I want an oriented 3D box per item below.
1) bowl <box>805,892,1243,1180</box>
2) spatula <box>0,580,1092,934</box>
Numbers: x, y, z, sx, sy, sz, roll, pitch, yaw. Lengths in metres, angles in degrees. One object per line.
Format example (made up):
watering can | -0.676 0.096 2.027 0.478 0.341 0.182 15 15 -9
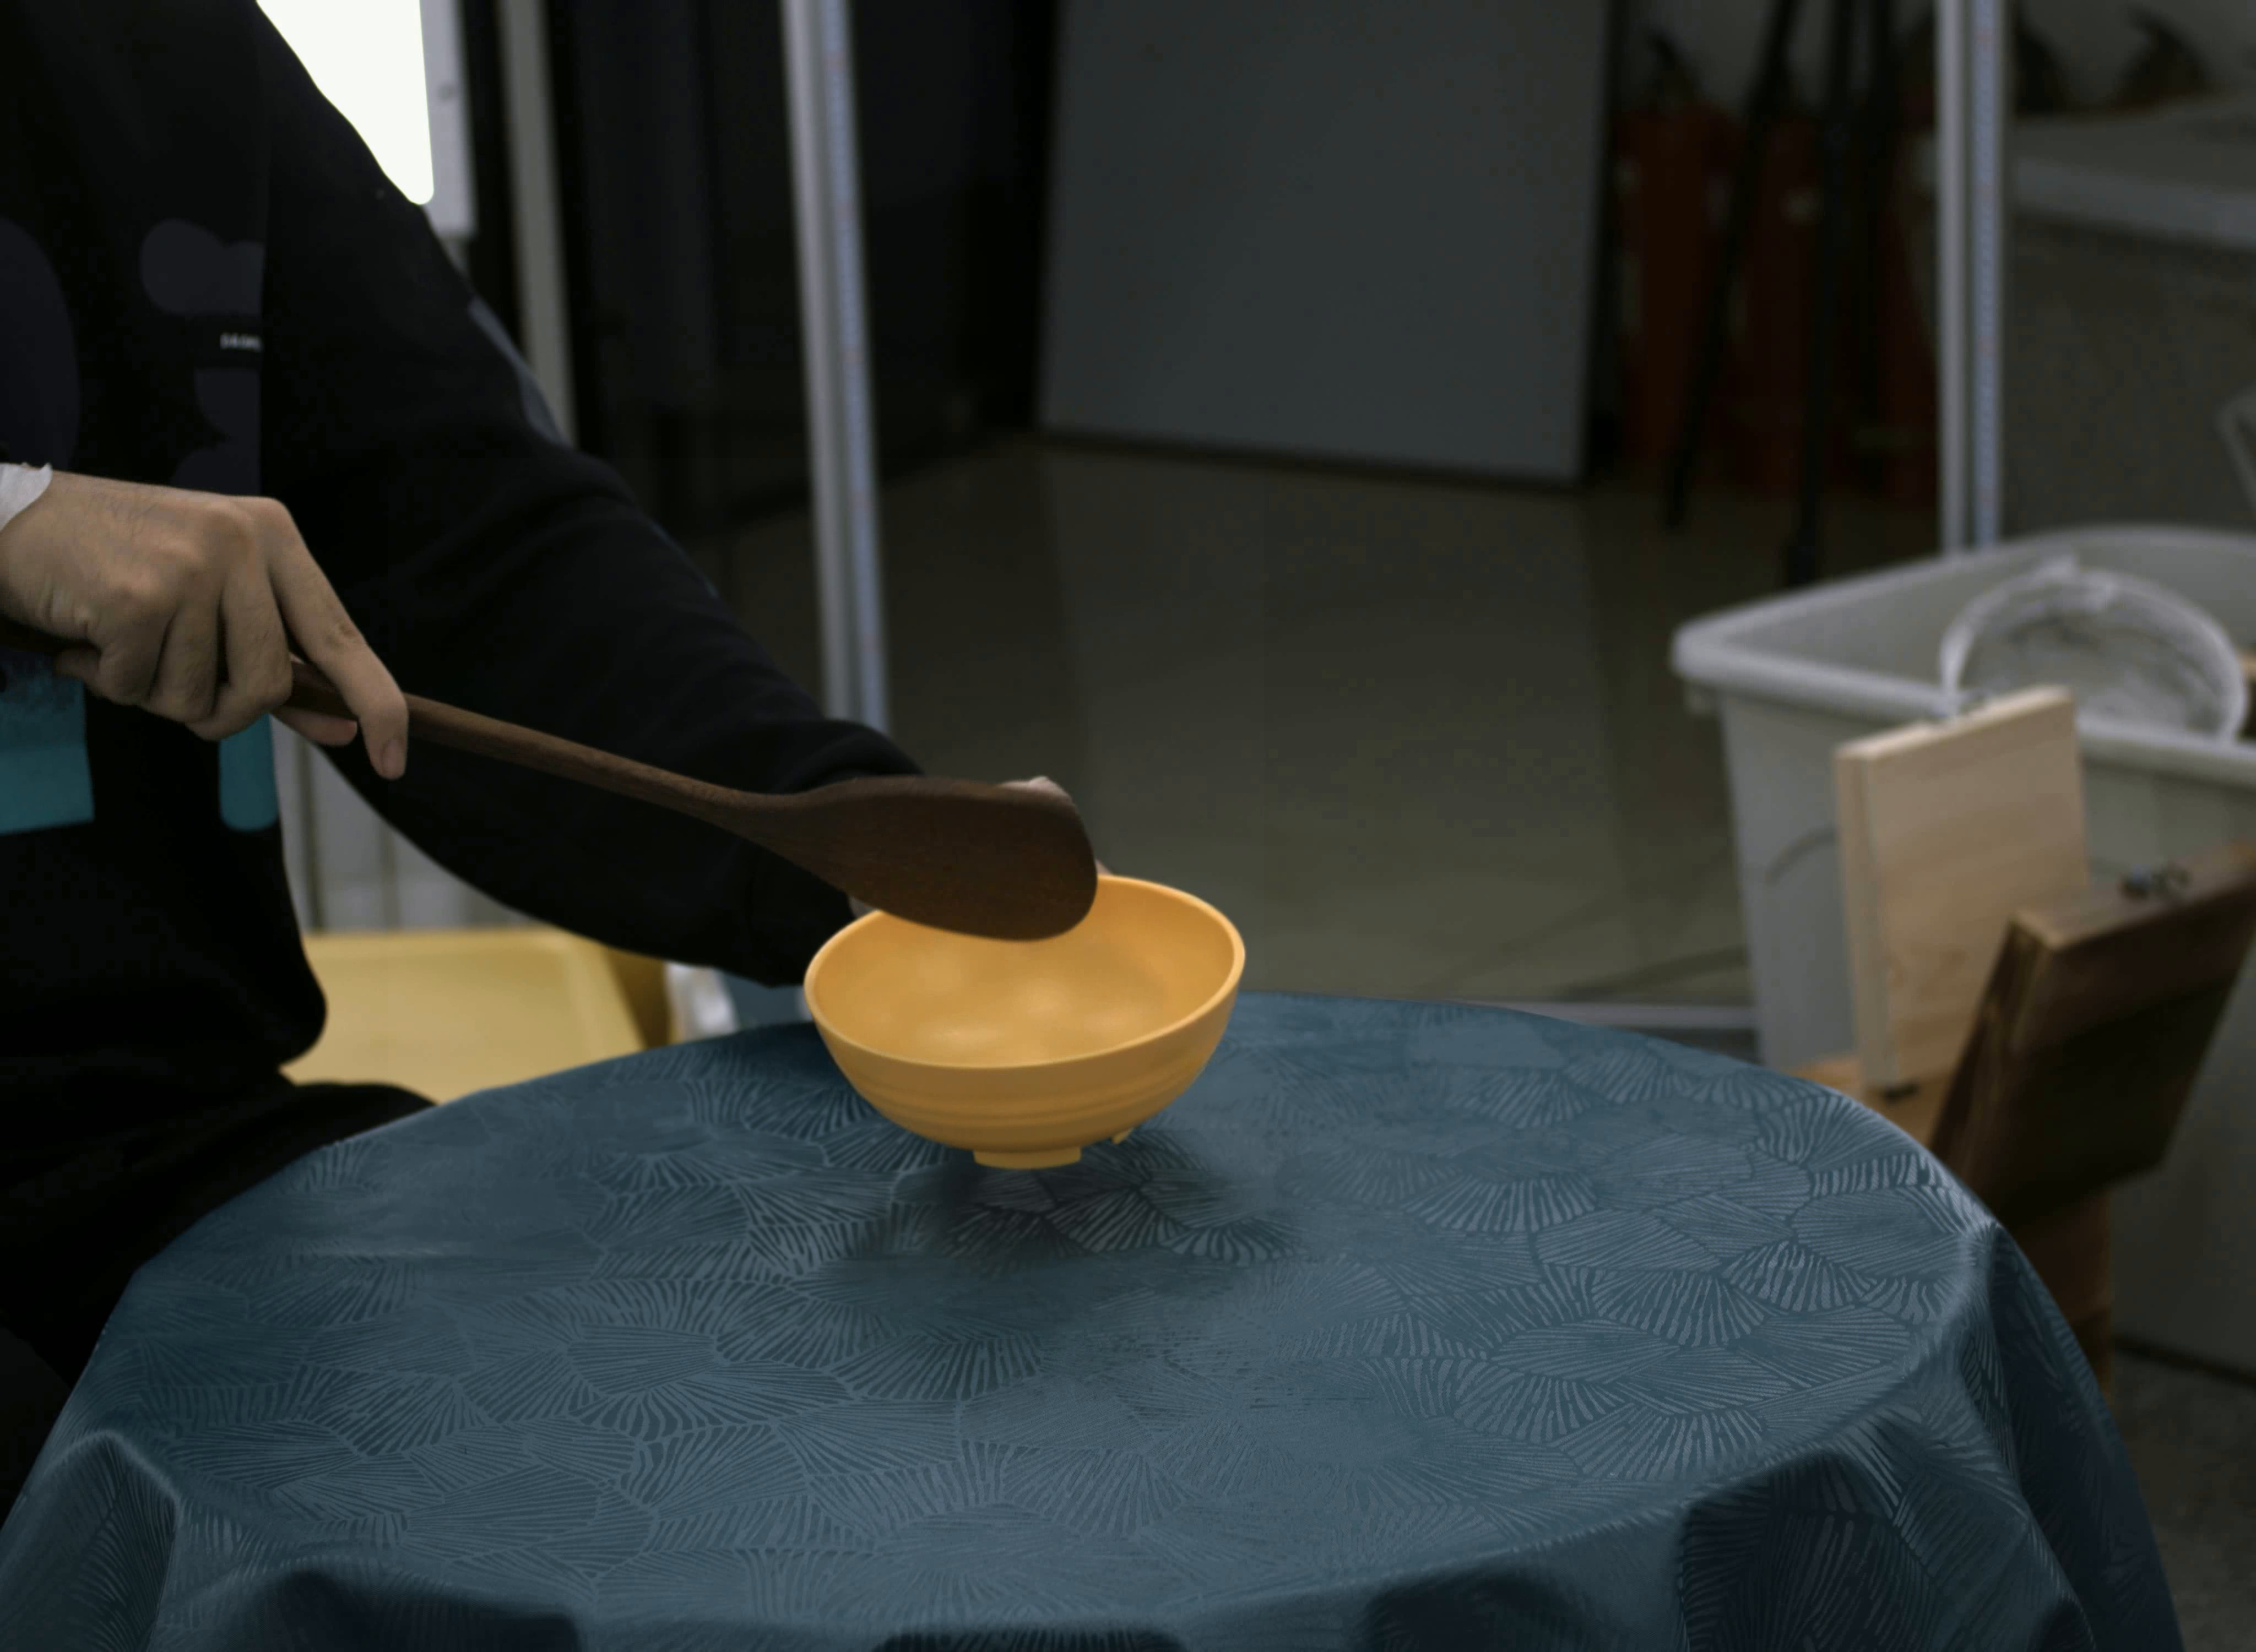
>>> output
bowl | -0.032 0.075 1.760 0.143 0.060 0.146 -4 21 1
spatula | -0.195 -0.027 1.734 0.383 0.016 0.096 15 -26 8
